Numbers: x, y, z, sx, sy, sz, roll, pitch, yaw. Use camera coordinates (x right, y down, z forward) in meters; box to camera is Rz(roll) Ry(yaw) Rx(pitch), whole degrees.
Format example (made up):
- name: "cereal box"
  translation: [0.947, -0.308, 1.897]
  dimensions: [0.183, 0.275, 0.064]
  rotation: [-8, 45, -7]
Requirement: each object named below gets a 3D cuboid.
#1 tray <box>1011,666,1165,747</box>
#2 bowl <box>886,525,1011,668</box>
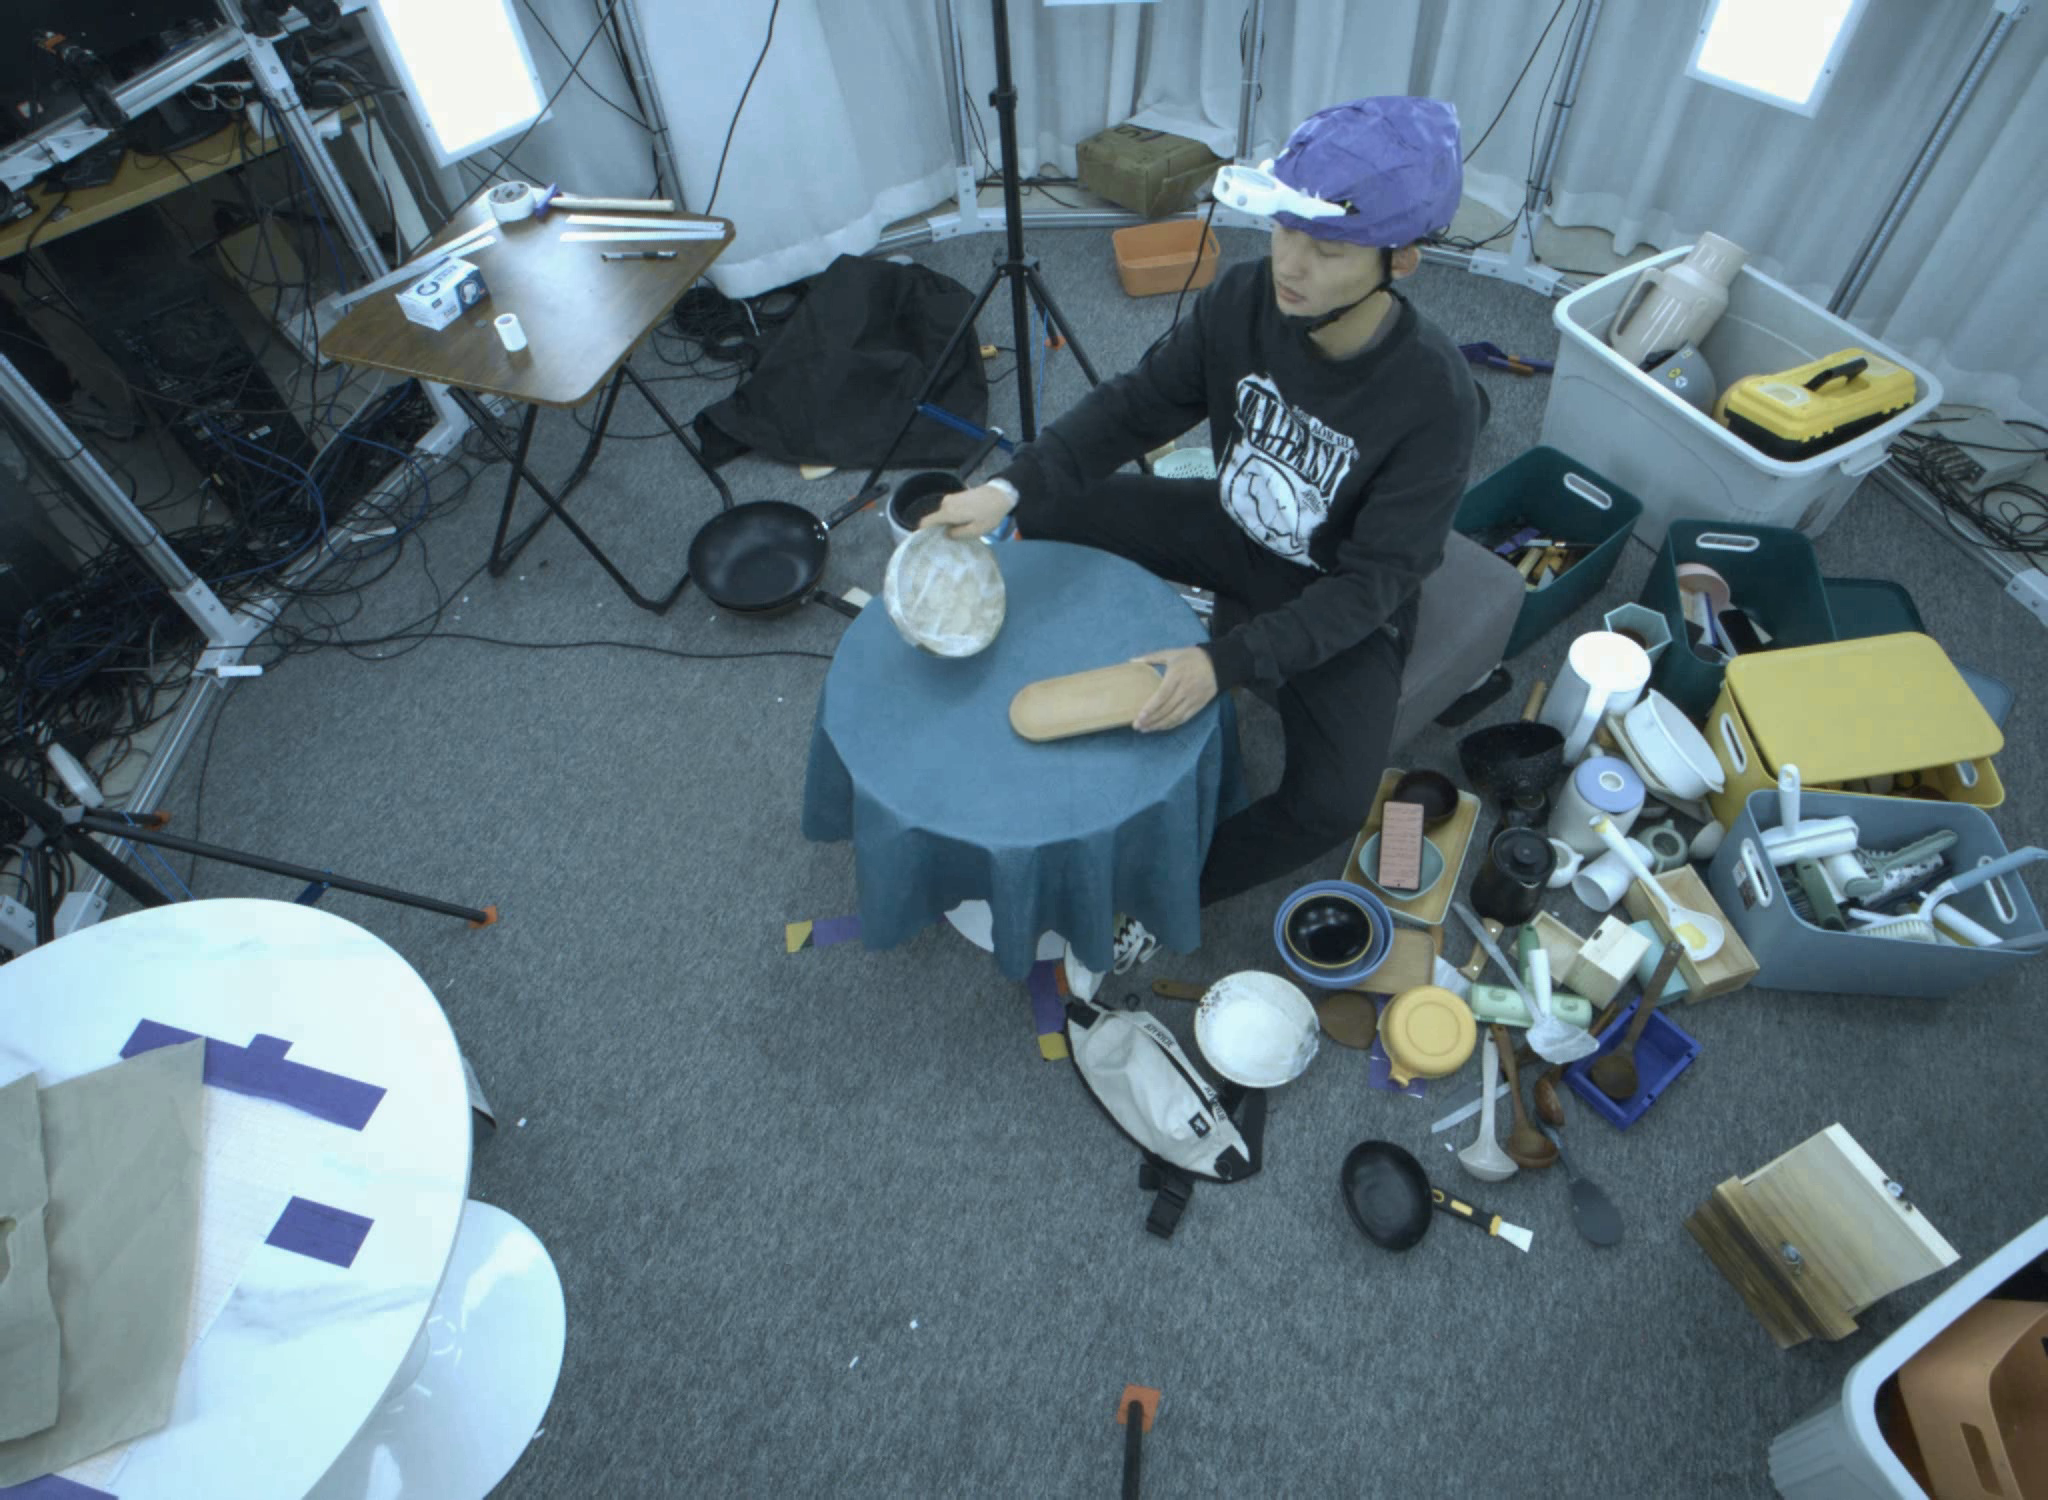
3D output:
- name: "tray"
  translation: [0.093, -0.063, 1.806]
  dimensions: [0.230, 0.020, 0.100]
  rotation: [-13, 56, 8]
- name: "bowl"
  translation: [-0.129, -0.226, 1.839]
  dimensions: [0.092, 0.219, 0.215]
  rotation: [-2, 45, 48]
